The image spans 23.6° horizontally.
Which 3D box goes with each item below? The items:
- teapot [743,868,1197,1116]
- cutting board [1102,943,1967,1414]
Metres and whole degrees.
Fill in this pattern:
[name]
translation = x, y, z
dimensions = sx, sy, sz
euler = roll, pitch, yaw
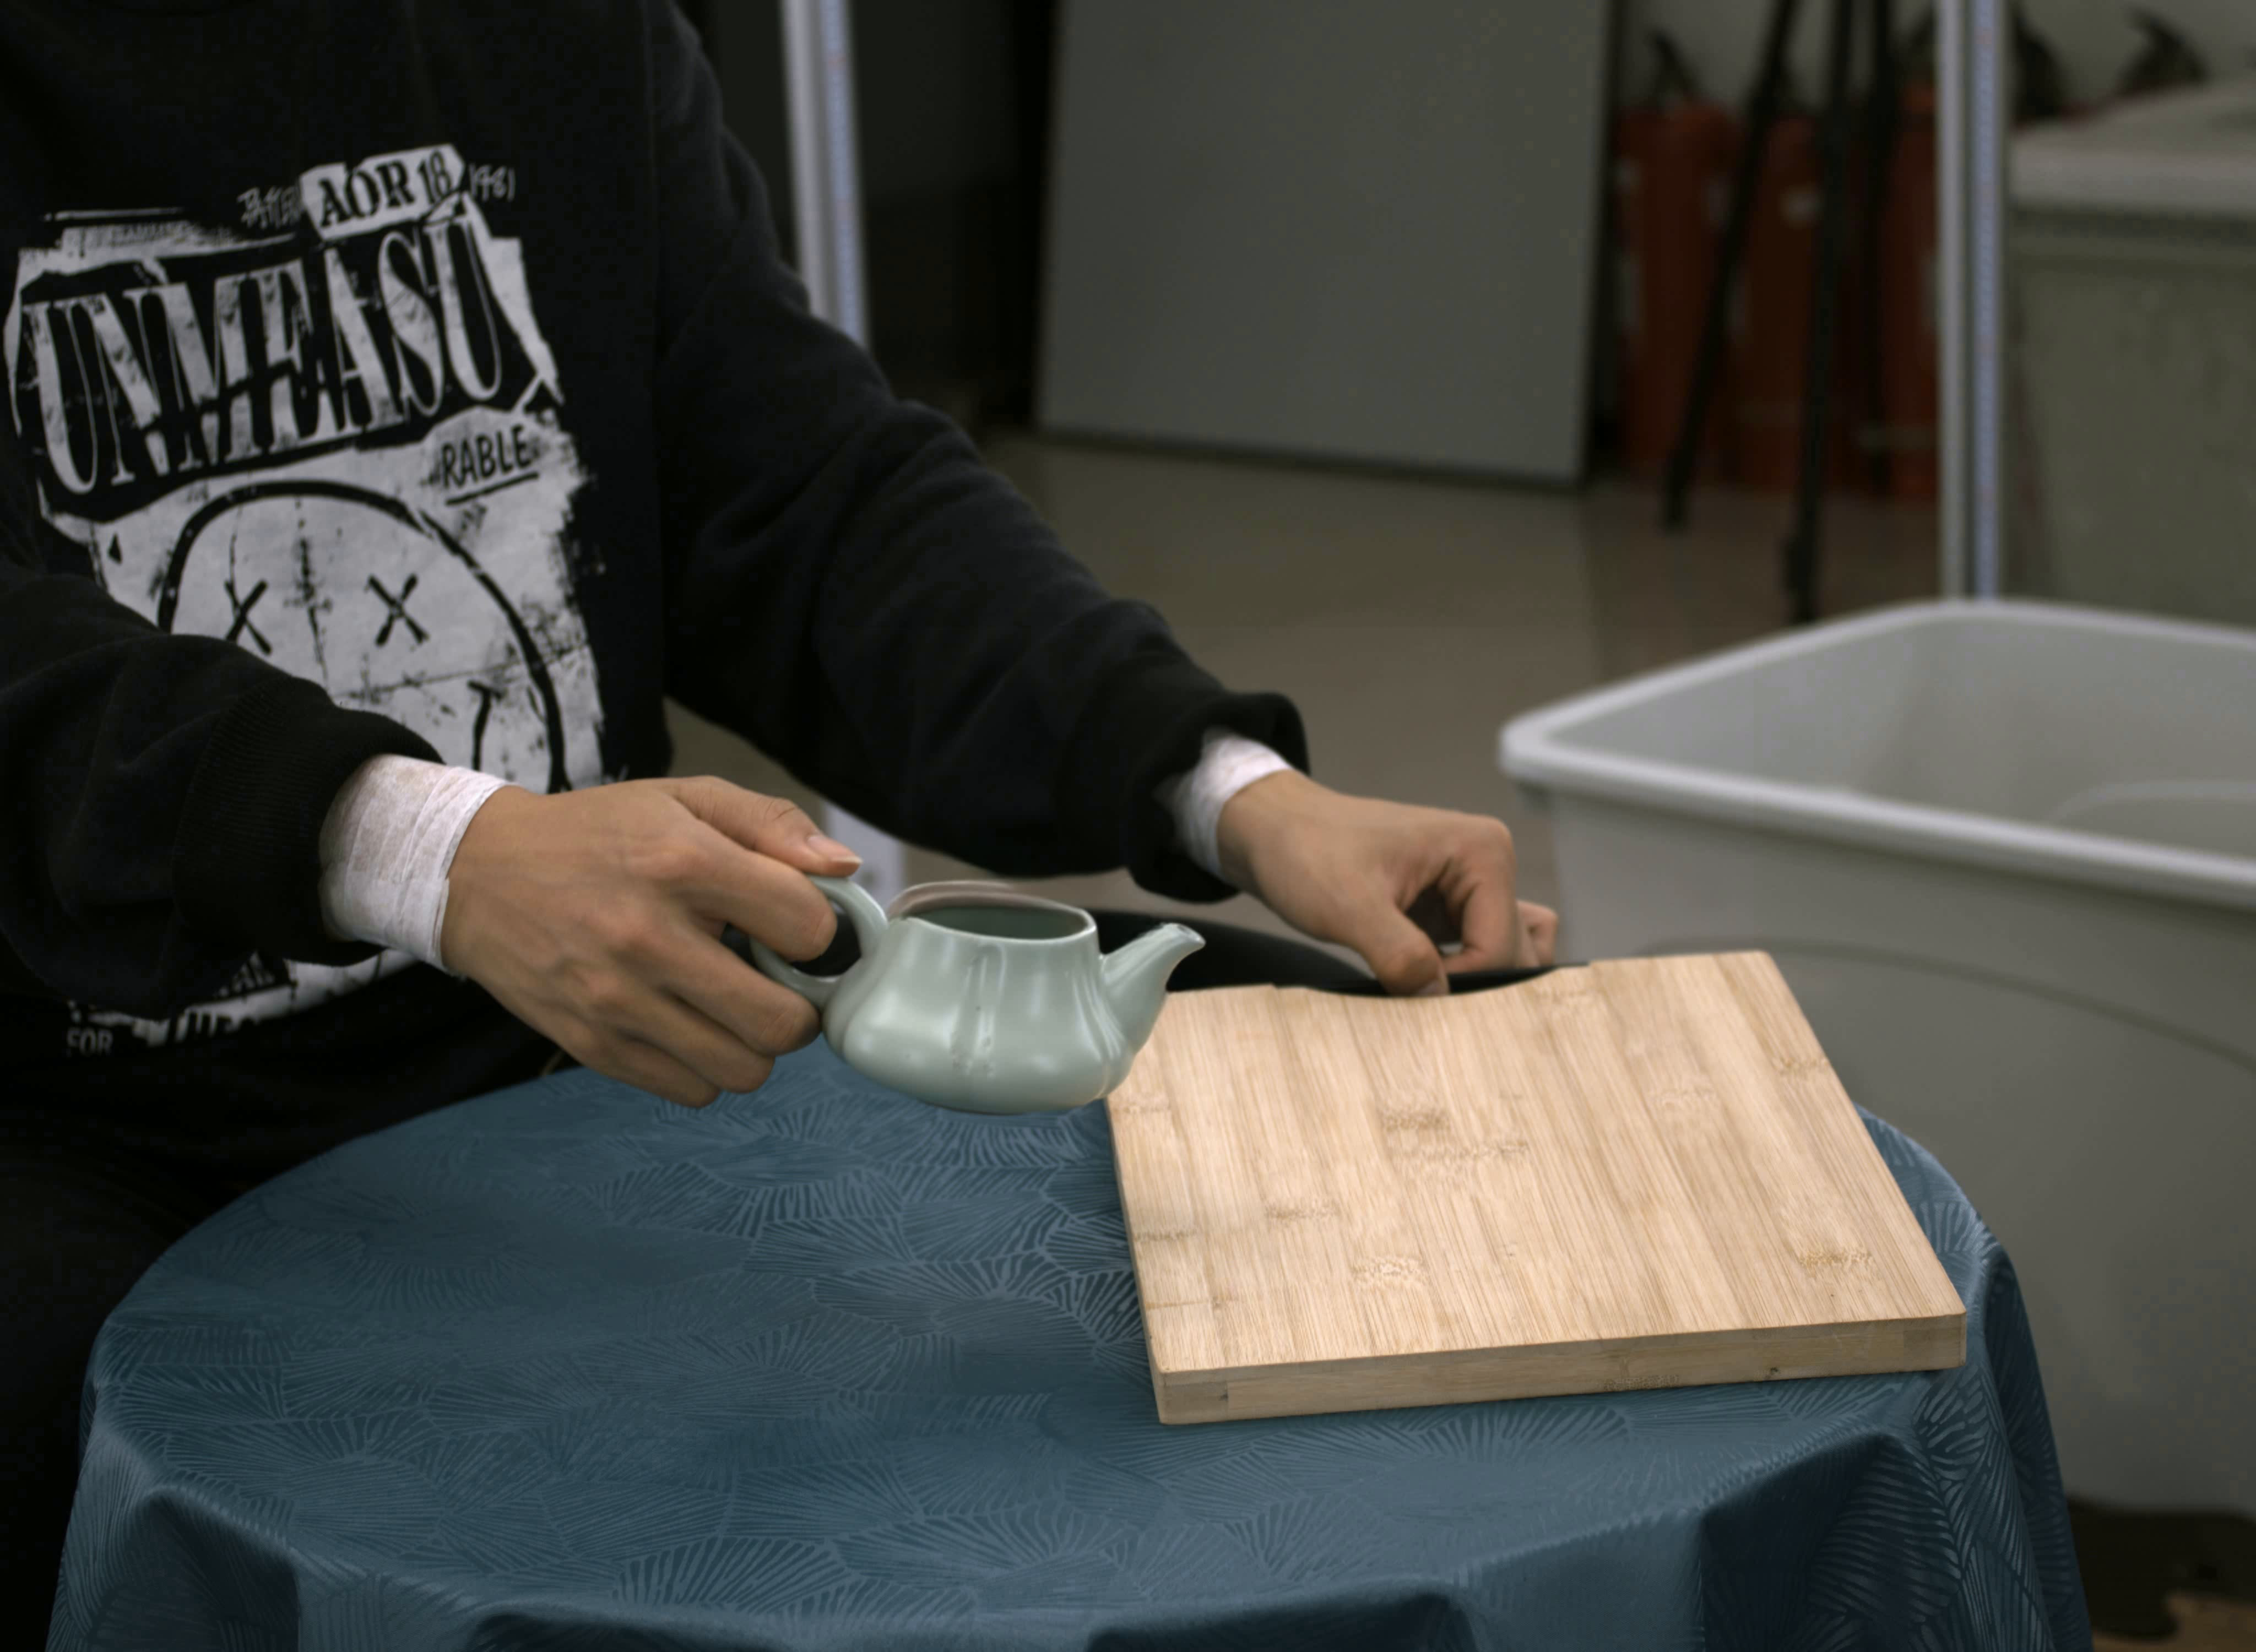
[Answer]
[teapot]
translation = -0.050, 0.049, 1.623
dimensions = 0.135, 0.062, 0.096
euler = 8, 16, -2
[cutting board]
translation = 0.116, 0.108, 1.725
dimensions = 0.247, 0.024, 0.350
euler = -5, 17, -3
